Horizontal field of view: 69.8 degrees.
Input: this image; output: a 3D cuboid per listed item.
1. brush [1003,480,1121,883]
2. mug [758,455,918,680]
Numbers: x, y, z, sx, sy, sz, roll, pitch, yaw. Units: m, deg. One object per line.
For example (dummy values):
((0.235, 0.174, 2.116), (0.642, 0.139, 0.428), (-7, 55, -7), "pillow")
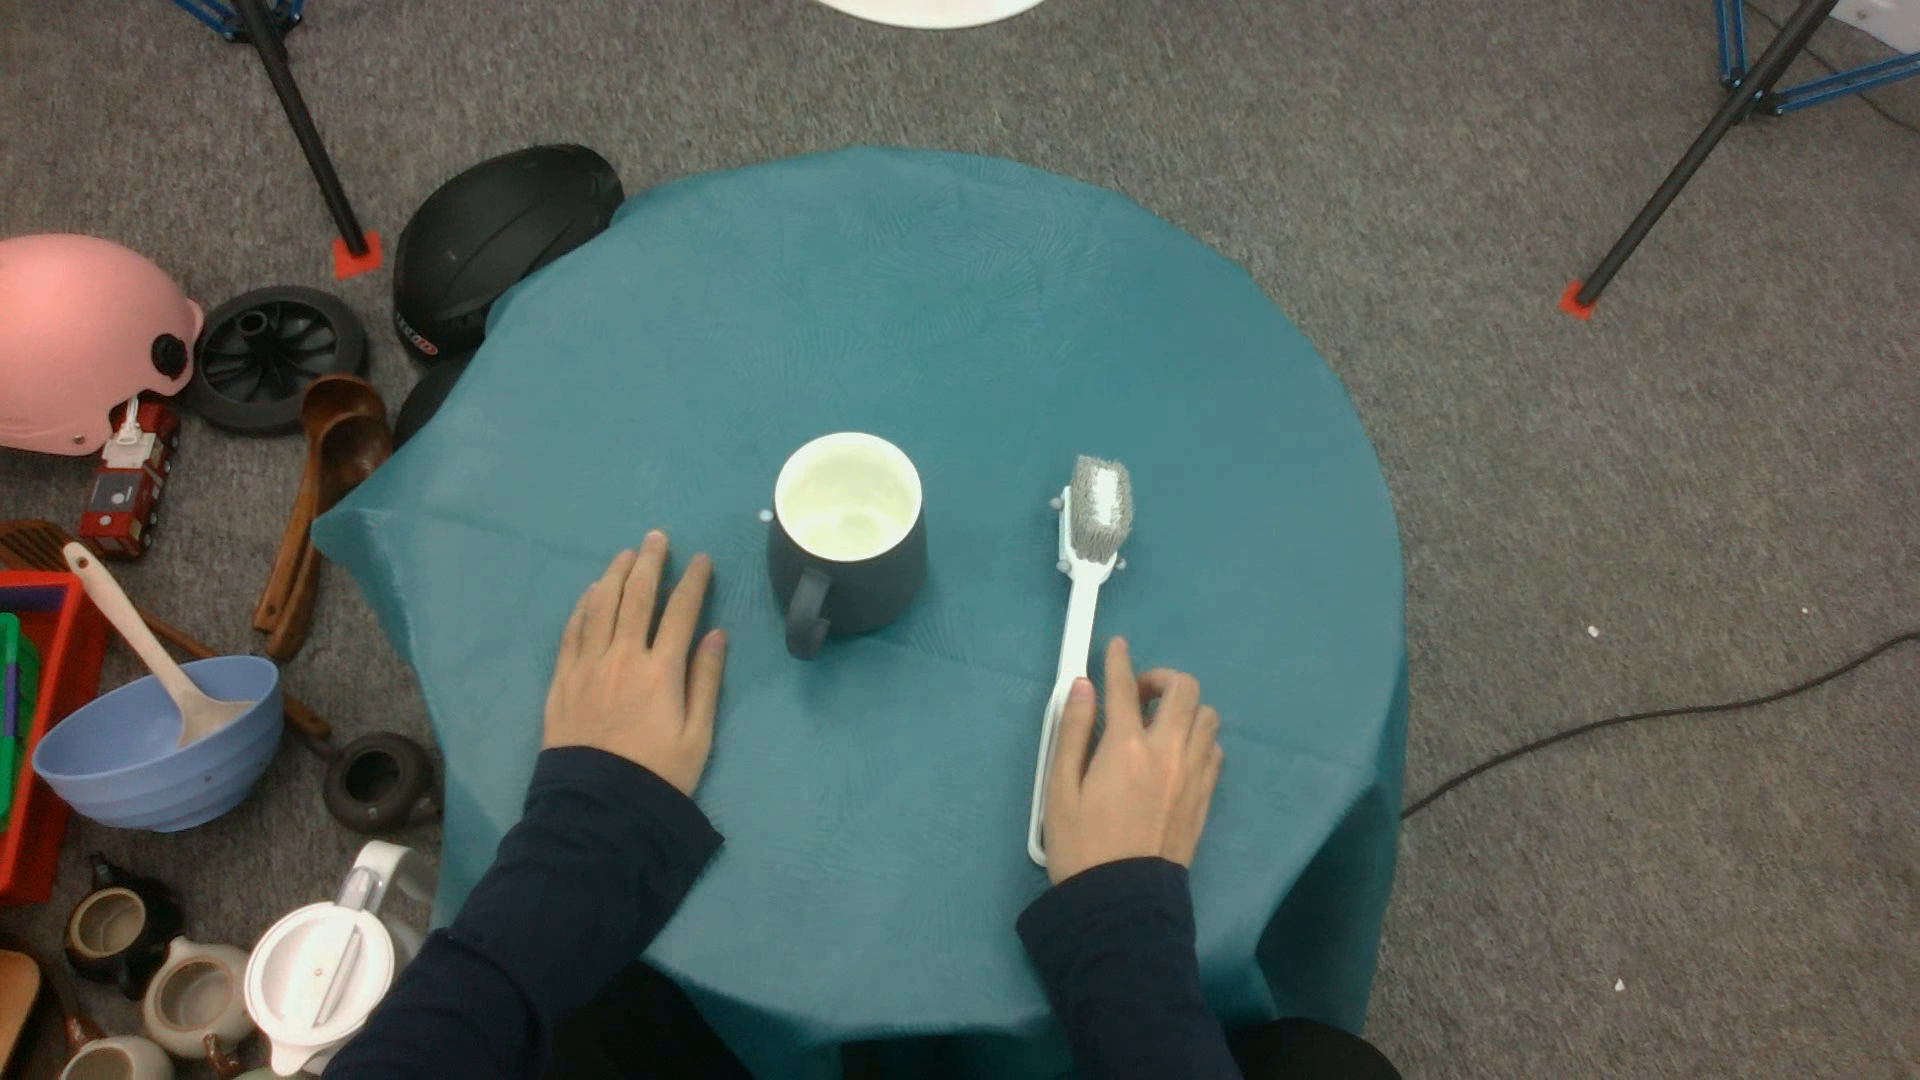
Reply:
((0.060, 0.073, 0.789), (0.034, 0.050, 0.245), (18, 59, -11), "brush")
((-0.075, 0.021, 0.778), (0.093, 0.089, 0.124), (20, 59, 7), "mug")
